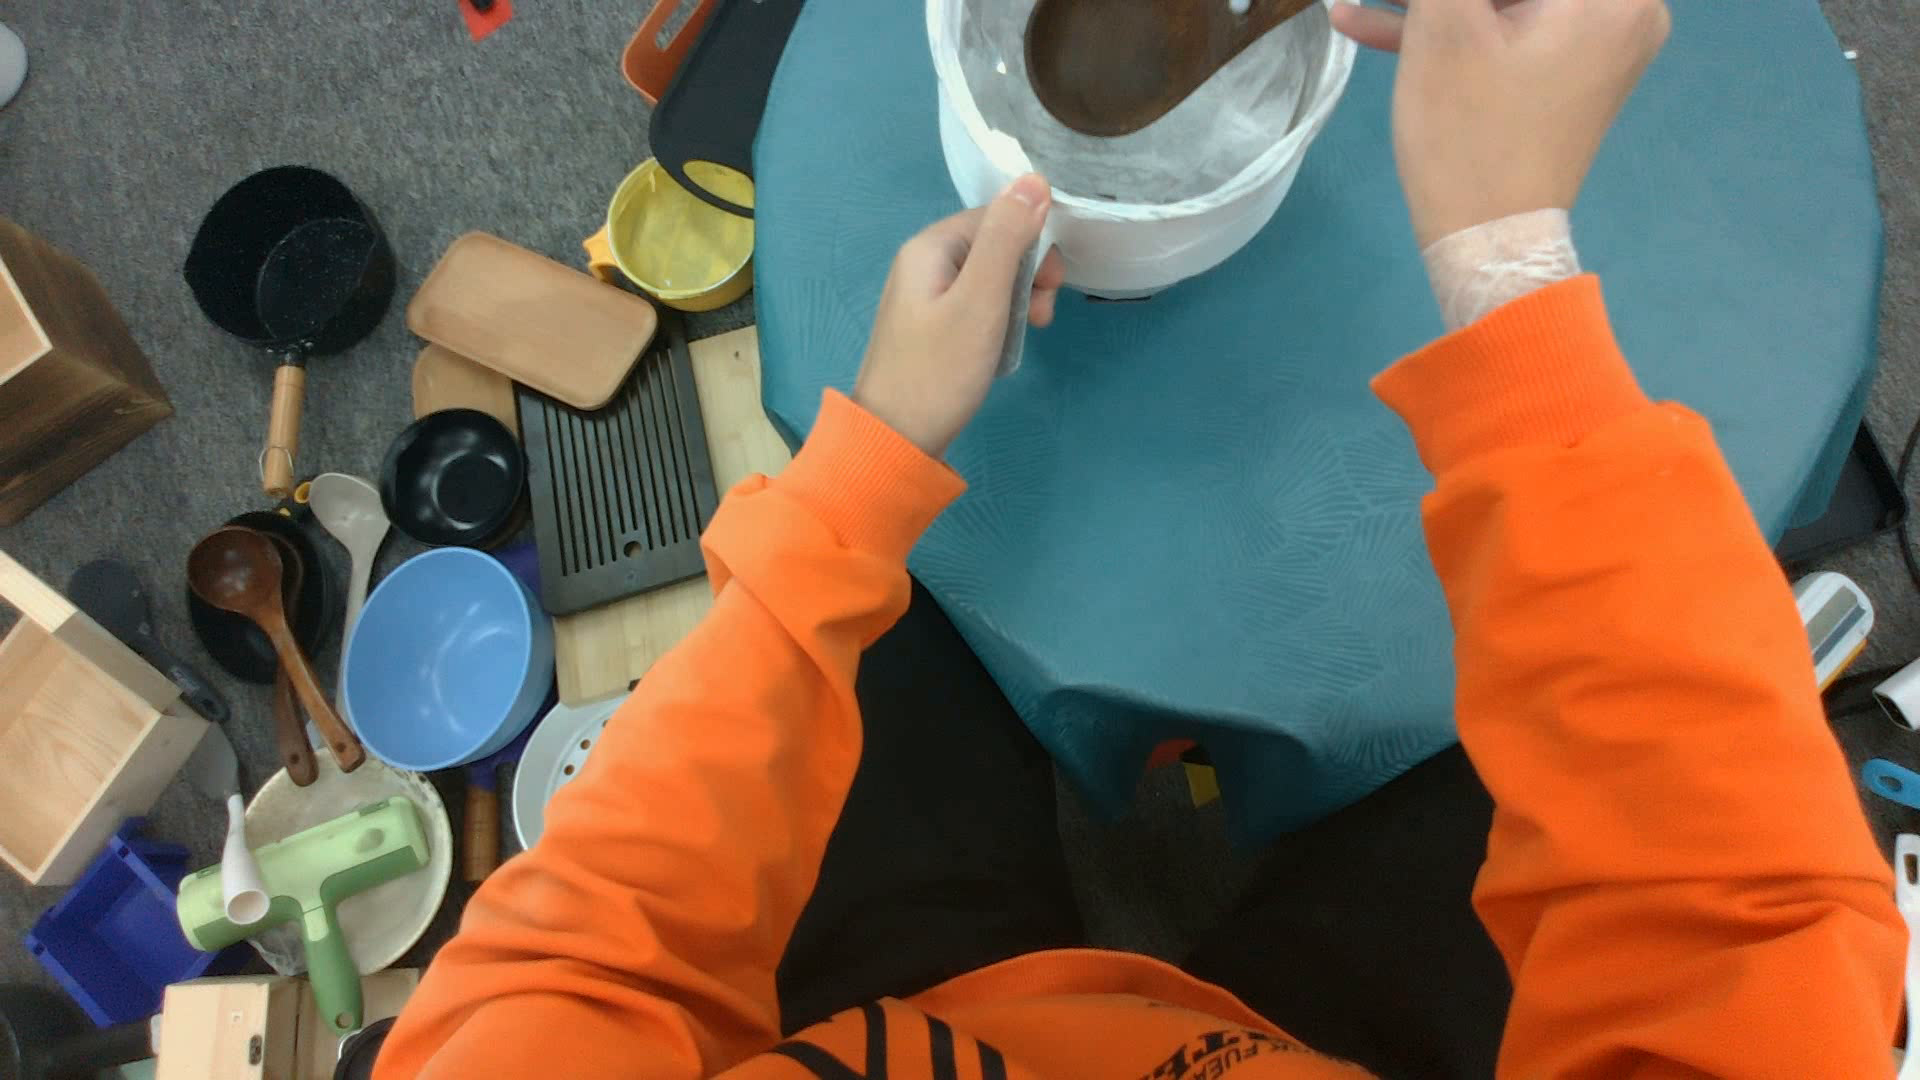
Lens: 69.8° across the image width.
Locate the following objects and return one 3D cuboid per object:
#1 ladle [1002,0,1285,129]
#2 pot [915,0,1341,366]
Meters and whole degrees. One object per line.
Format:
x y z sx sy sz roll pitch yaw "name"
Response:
0.119 -0.215 0.498 0.071 0.273 0.076 -4 91 -35 "ladle"
0.058 -0.192 0.630 0.179 0.136 0.234 28 85 5 "pot"
